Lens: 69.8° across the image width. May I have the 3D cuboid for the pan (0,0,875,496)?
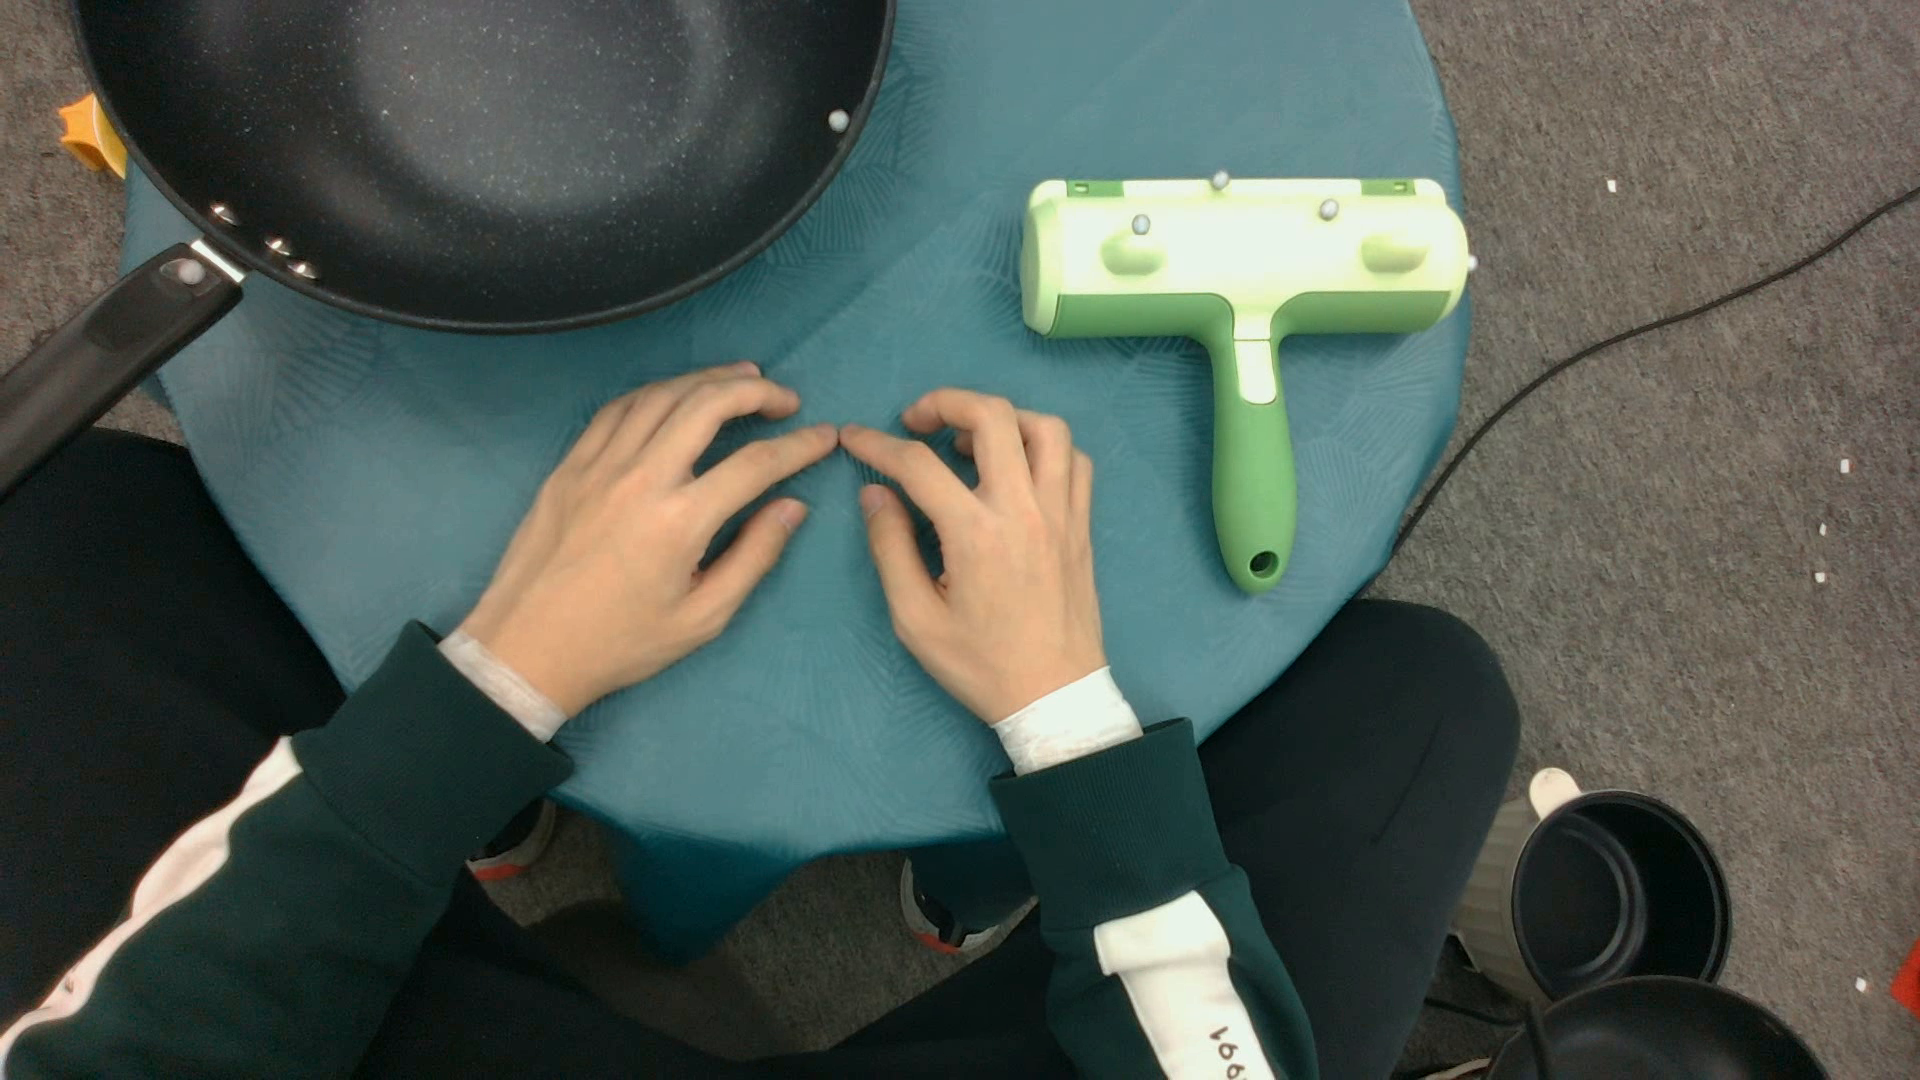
[{"bbox_3d":[-0.237,-0.162,0.545,0.310,0.111,0.478,34,76,0],"label":"pan"}]

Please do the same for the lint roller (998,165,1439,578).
[{"bbox_3d":[0.123,-0.079,0.603,0.199,0.082,0.183,-3,76,-10],"label":"lint roller"}]
